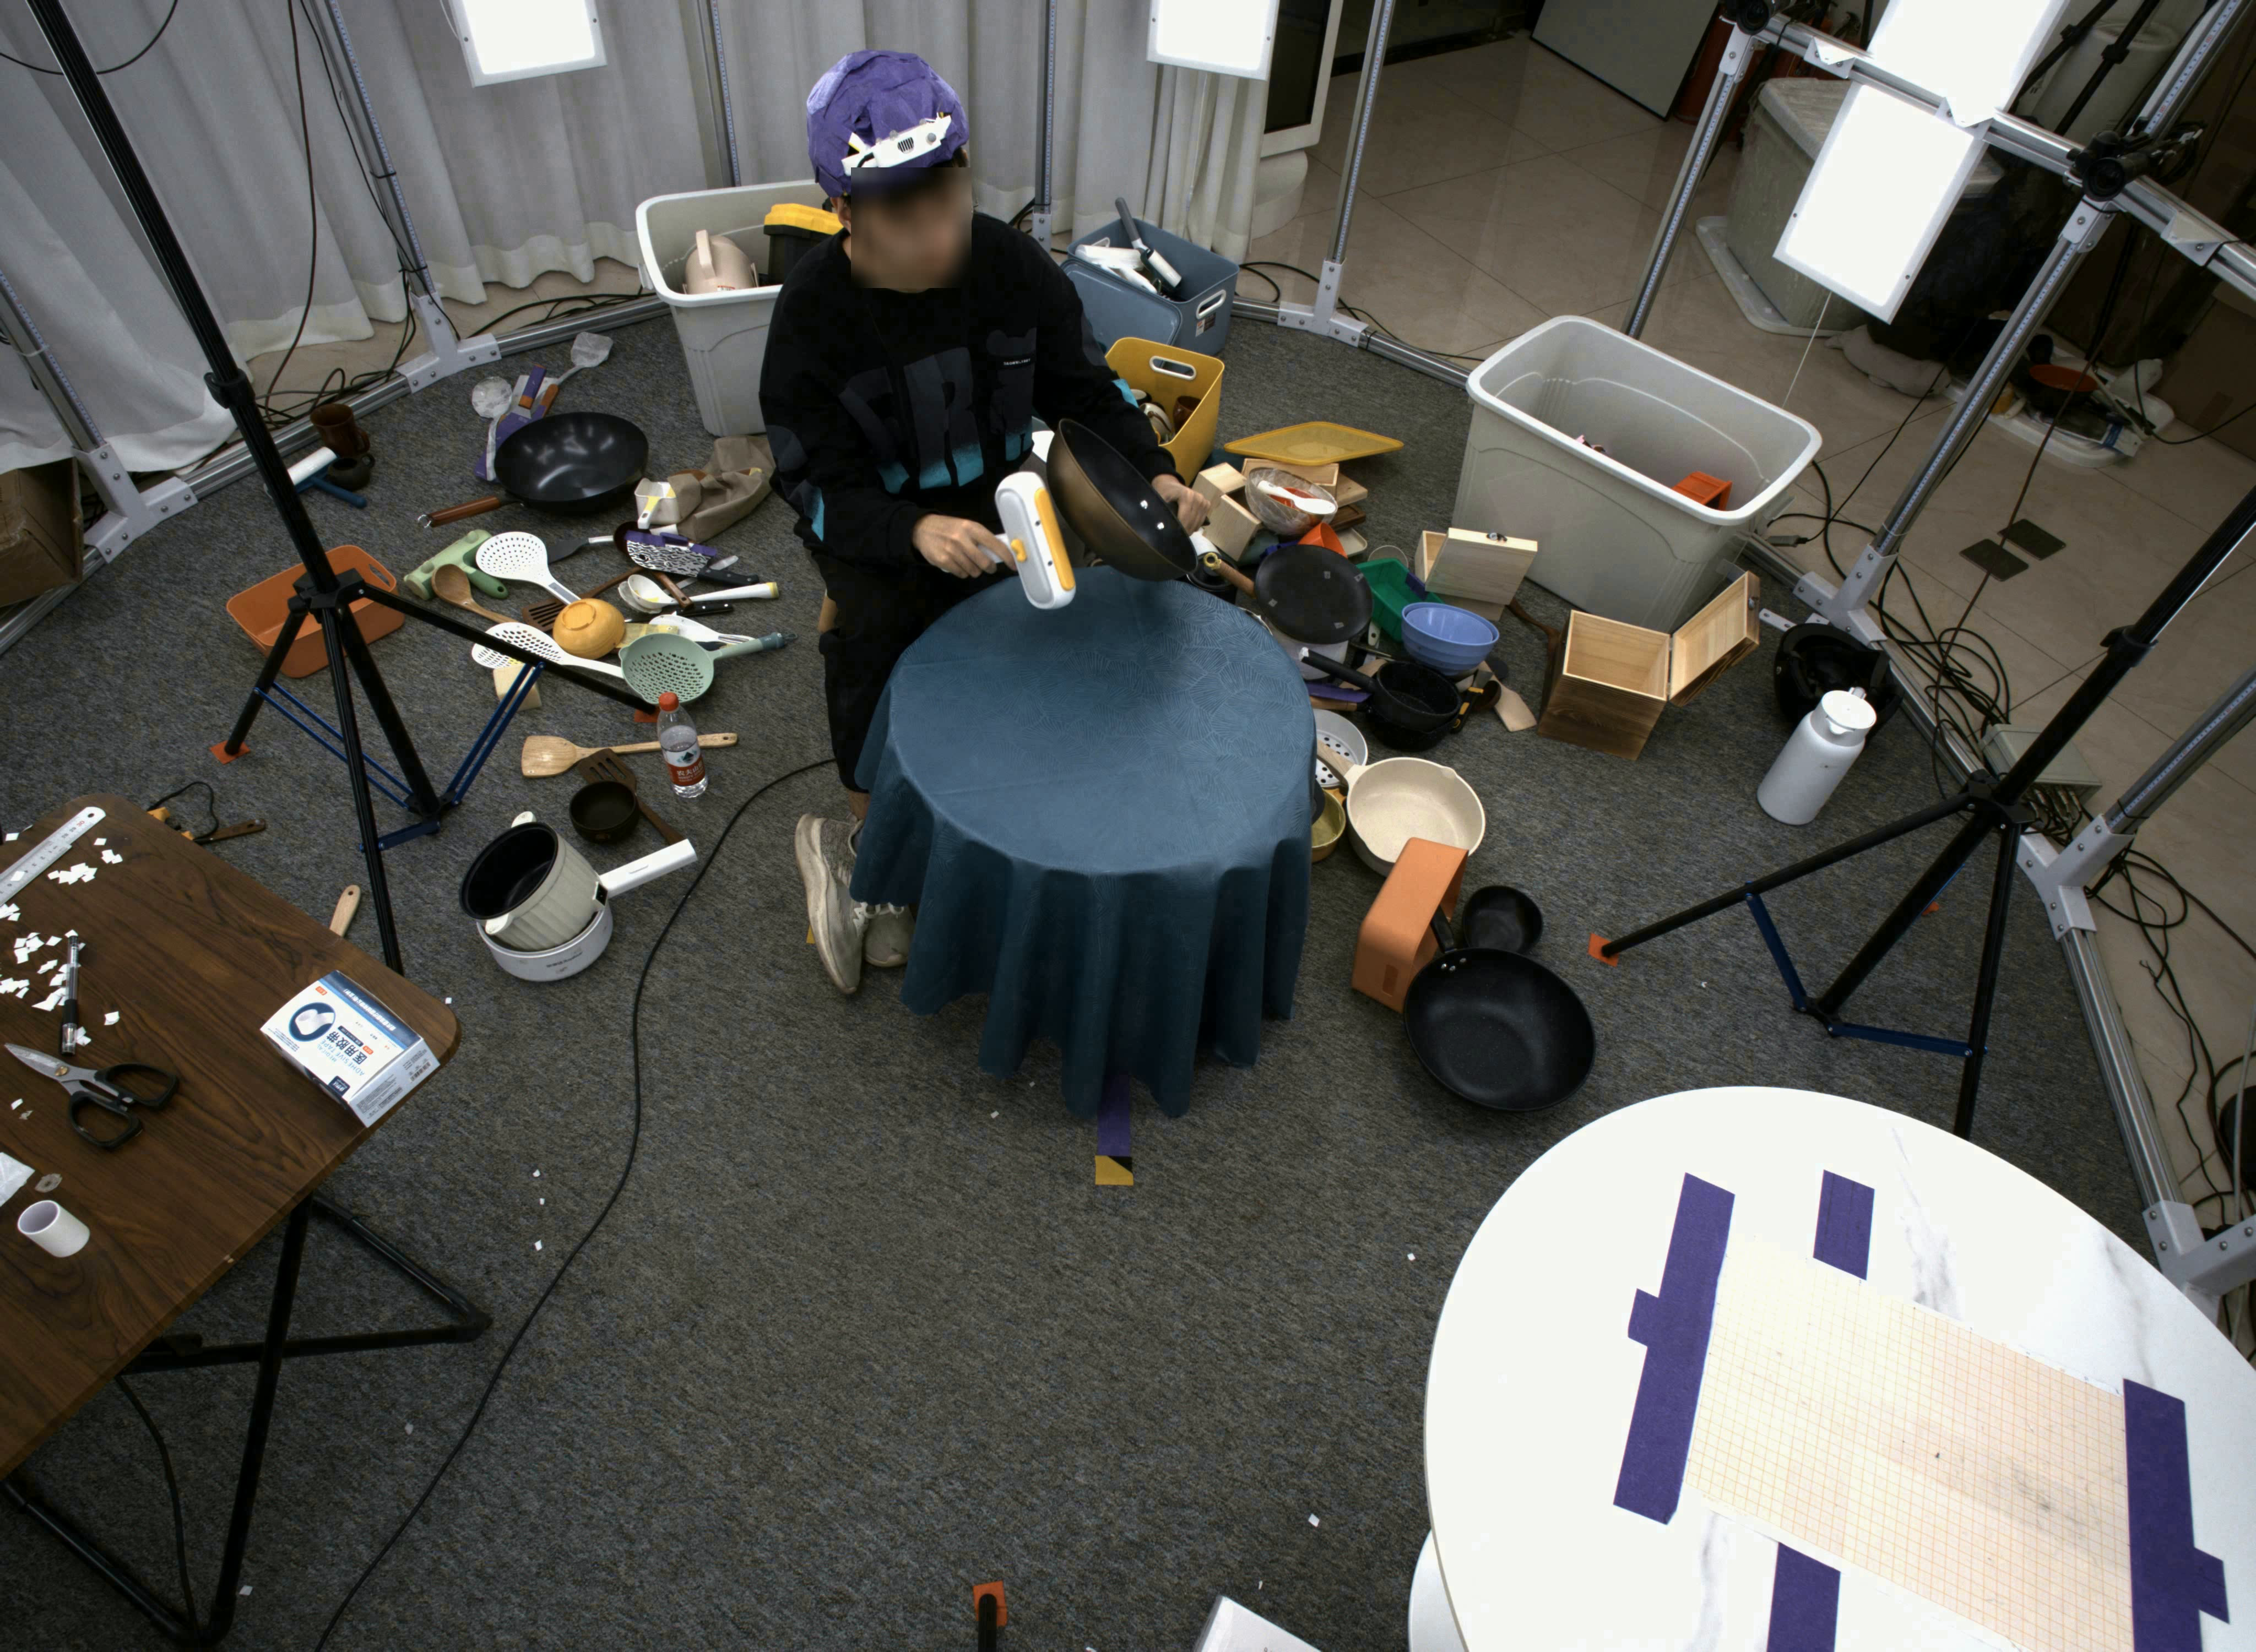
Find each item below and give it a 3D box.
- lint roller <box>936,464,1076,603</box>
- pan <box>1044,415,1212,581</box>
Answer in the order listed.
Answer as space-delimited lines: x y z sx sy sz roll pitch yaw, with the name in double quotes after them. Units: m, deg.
-0.179 -0.391 1.793 0.193 0.189 0.075 -5 29 35 "lint roller"
0.011 -0.458 1.919 0.290 0.086 0.463 54 22 10 "pan"
